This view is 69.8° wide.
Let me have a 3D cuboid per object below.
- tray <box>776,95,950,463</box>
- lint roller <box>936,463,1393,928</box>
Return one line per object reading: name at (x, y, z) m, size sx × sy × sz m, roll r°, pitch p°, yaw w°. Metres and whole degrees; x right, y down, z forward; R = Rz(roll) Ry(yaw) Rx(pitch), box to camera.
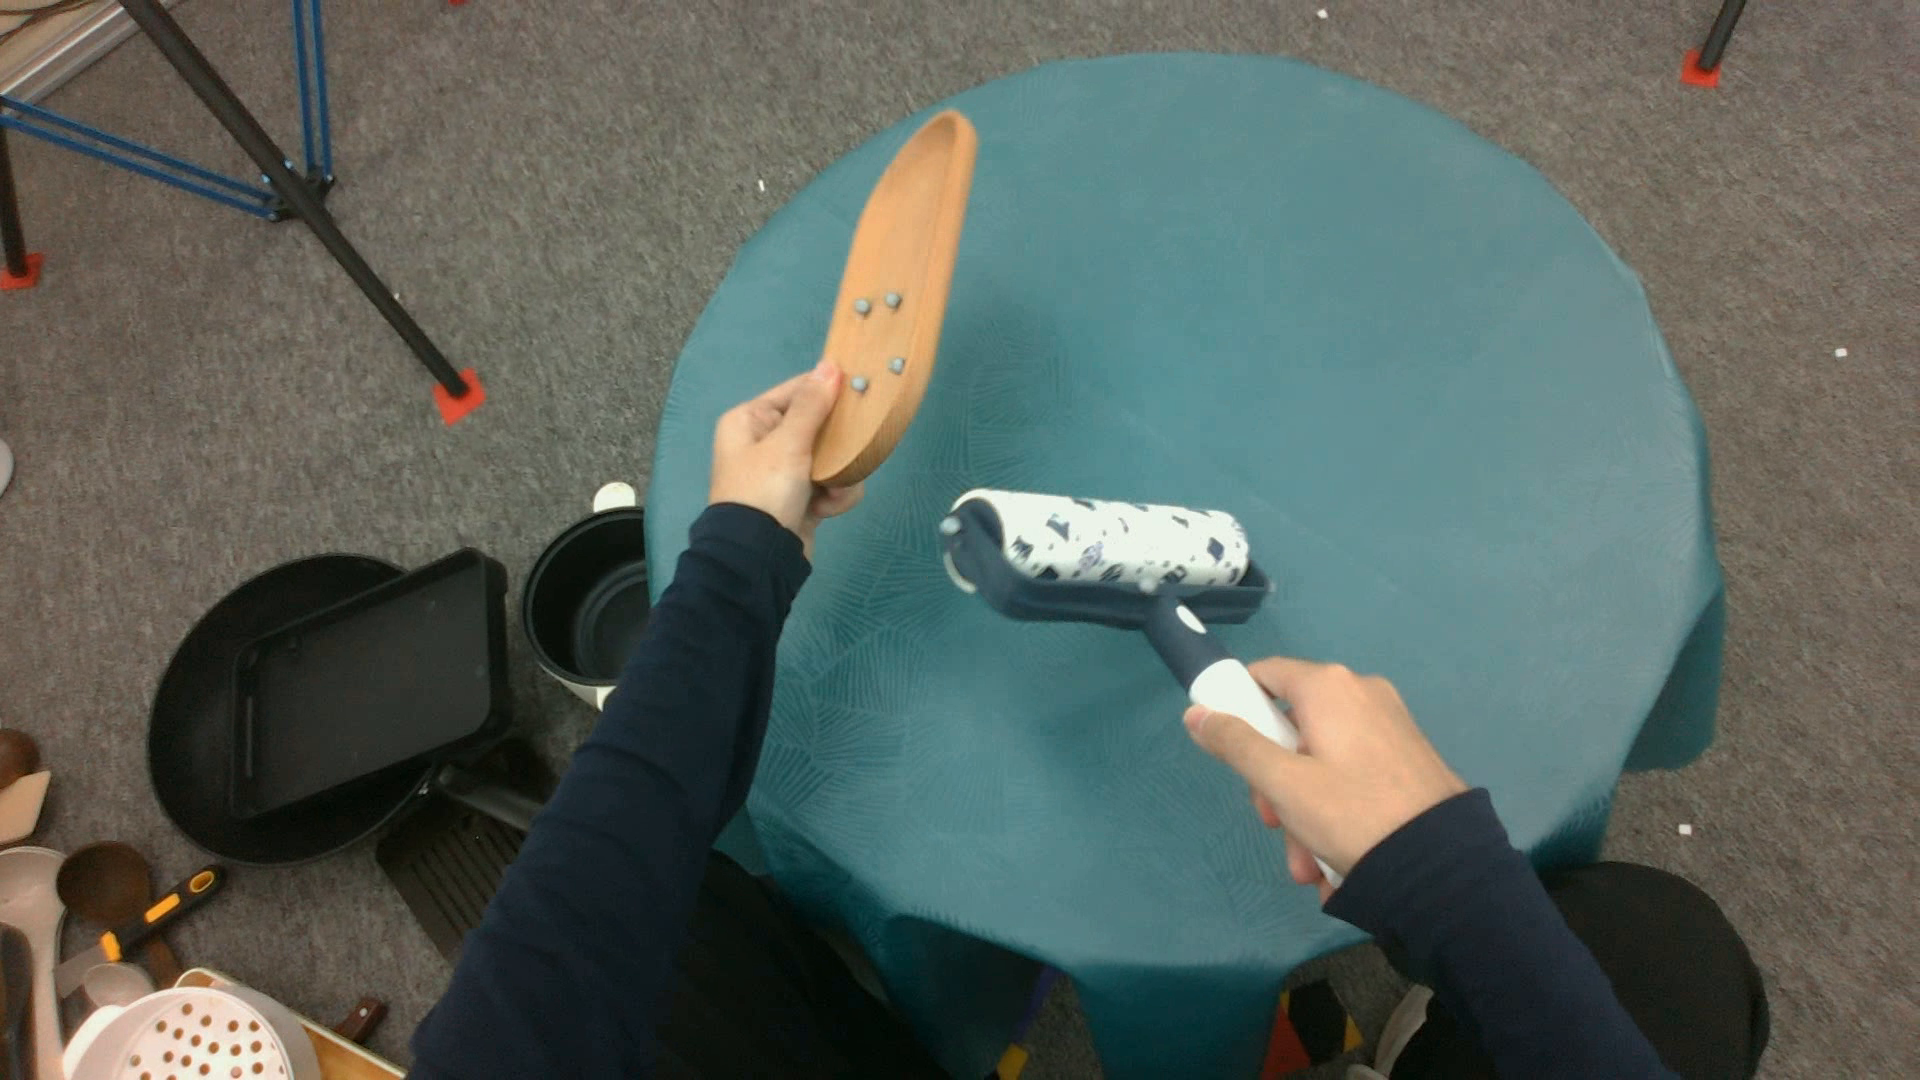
tray at (-0.049, -0.140, 0.716) m, size 0.101 × 0.020 × 0.232 m, roll -26°, pitch 44°, yaw 42°
lint roller at (0.111, 0.058, 0.605) m, size 0.177 × 0.050 × 0.247 m, roll 4°, pitch 37°, yaw -40°
